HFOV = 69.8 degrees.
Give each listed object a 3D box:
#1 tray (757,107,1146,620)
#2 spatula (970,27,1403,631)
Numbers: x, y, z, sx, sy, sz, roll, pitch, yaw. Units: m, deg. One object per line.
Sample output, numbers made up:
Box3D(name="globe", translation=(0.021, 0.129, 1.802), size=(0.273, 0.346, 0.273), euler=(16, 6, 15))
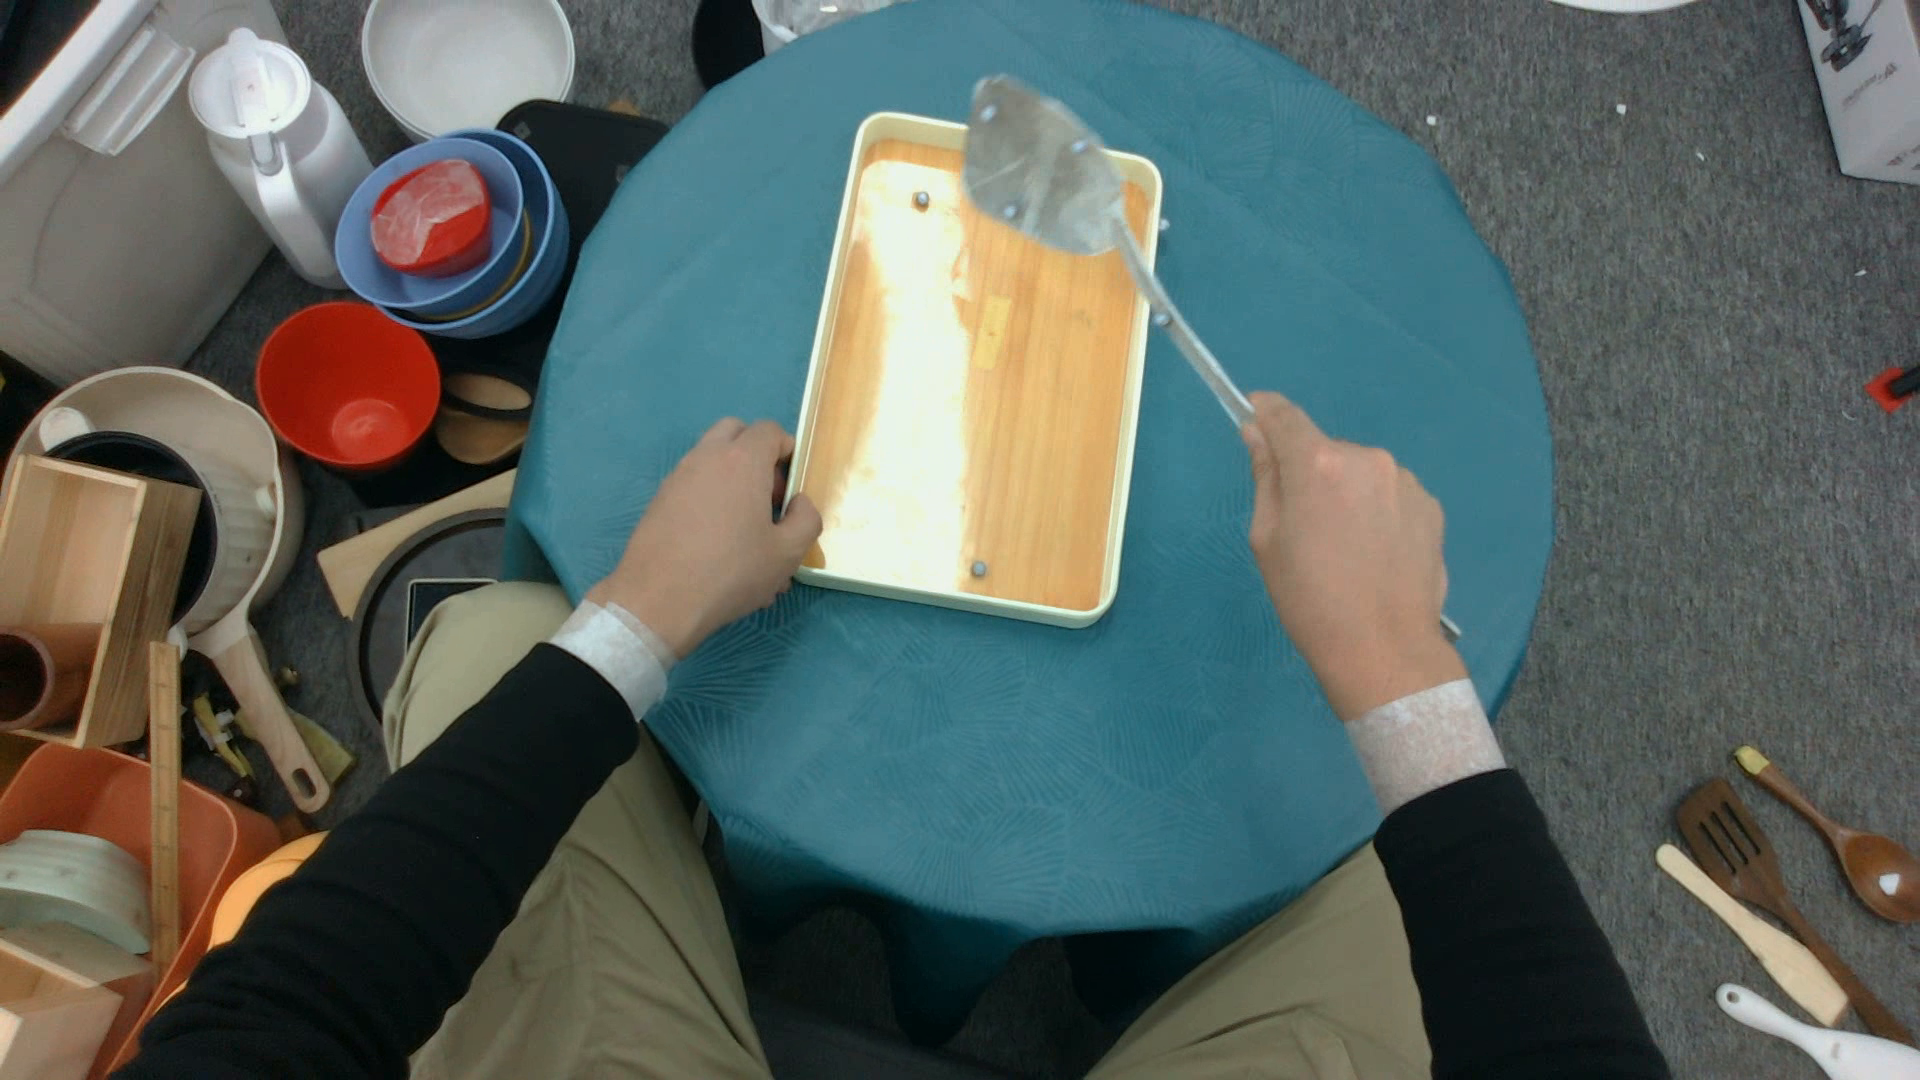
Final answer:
Box3D(name="tray", translation=(0.001, -0.110, 0.809), size=(0.191, 0.027, 0.301), euler=(10, 70, -2))
Box3D(name="spatula", translation=(0.116, -0.107, 0.703), size=(0.045, 0.098, 0.365), euler=(-17, 68, -31))
